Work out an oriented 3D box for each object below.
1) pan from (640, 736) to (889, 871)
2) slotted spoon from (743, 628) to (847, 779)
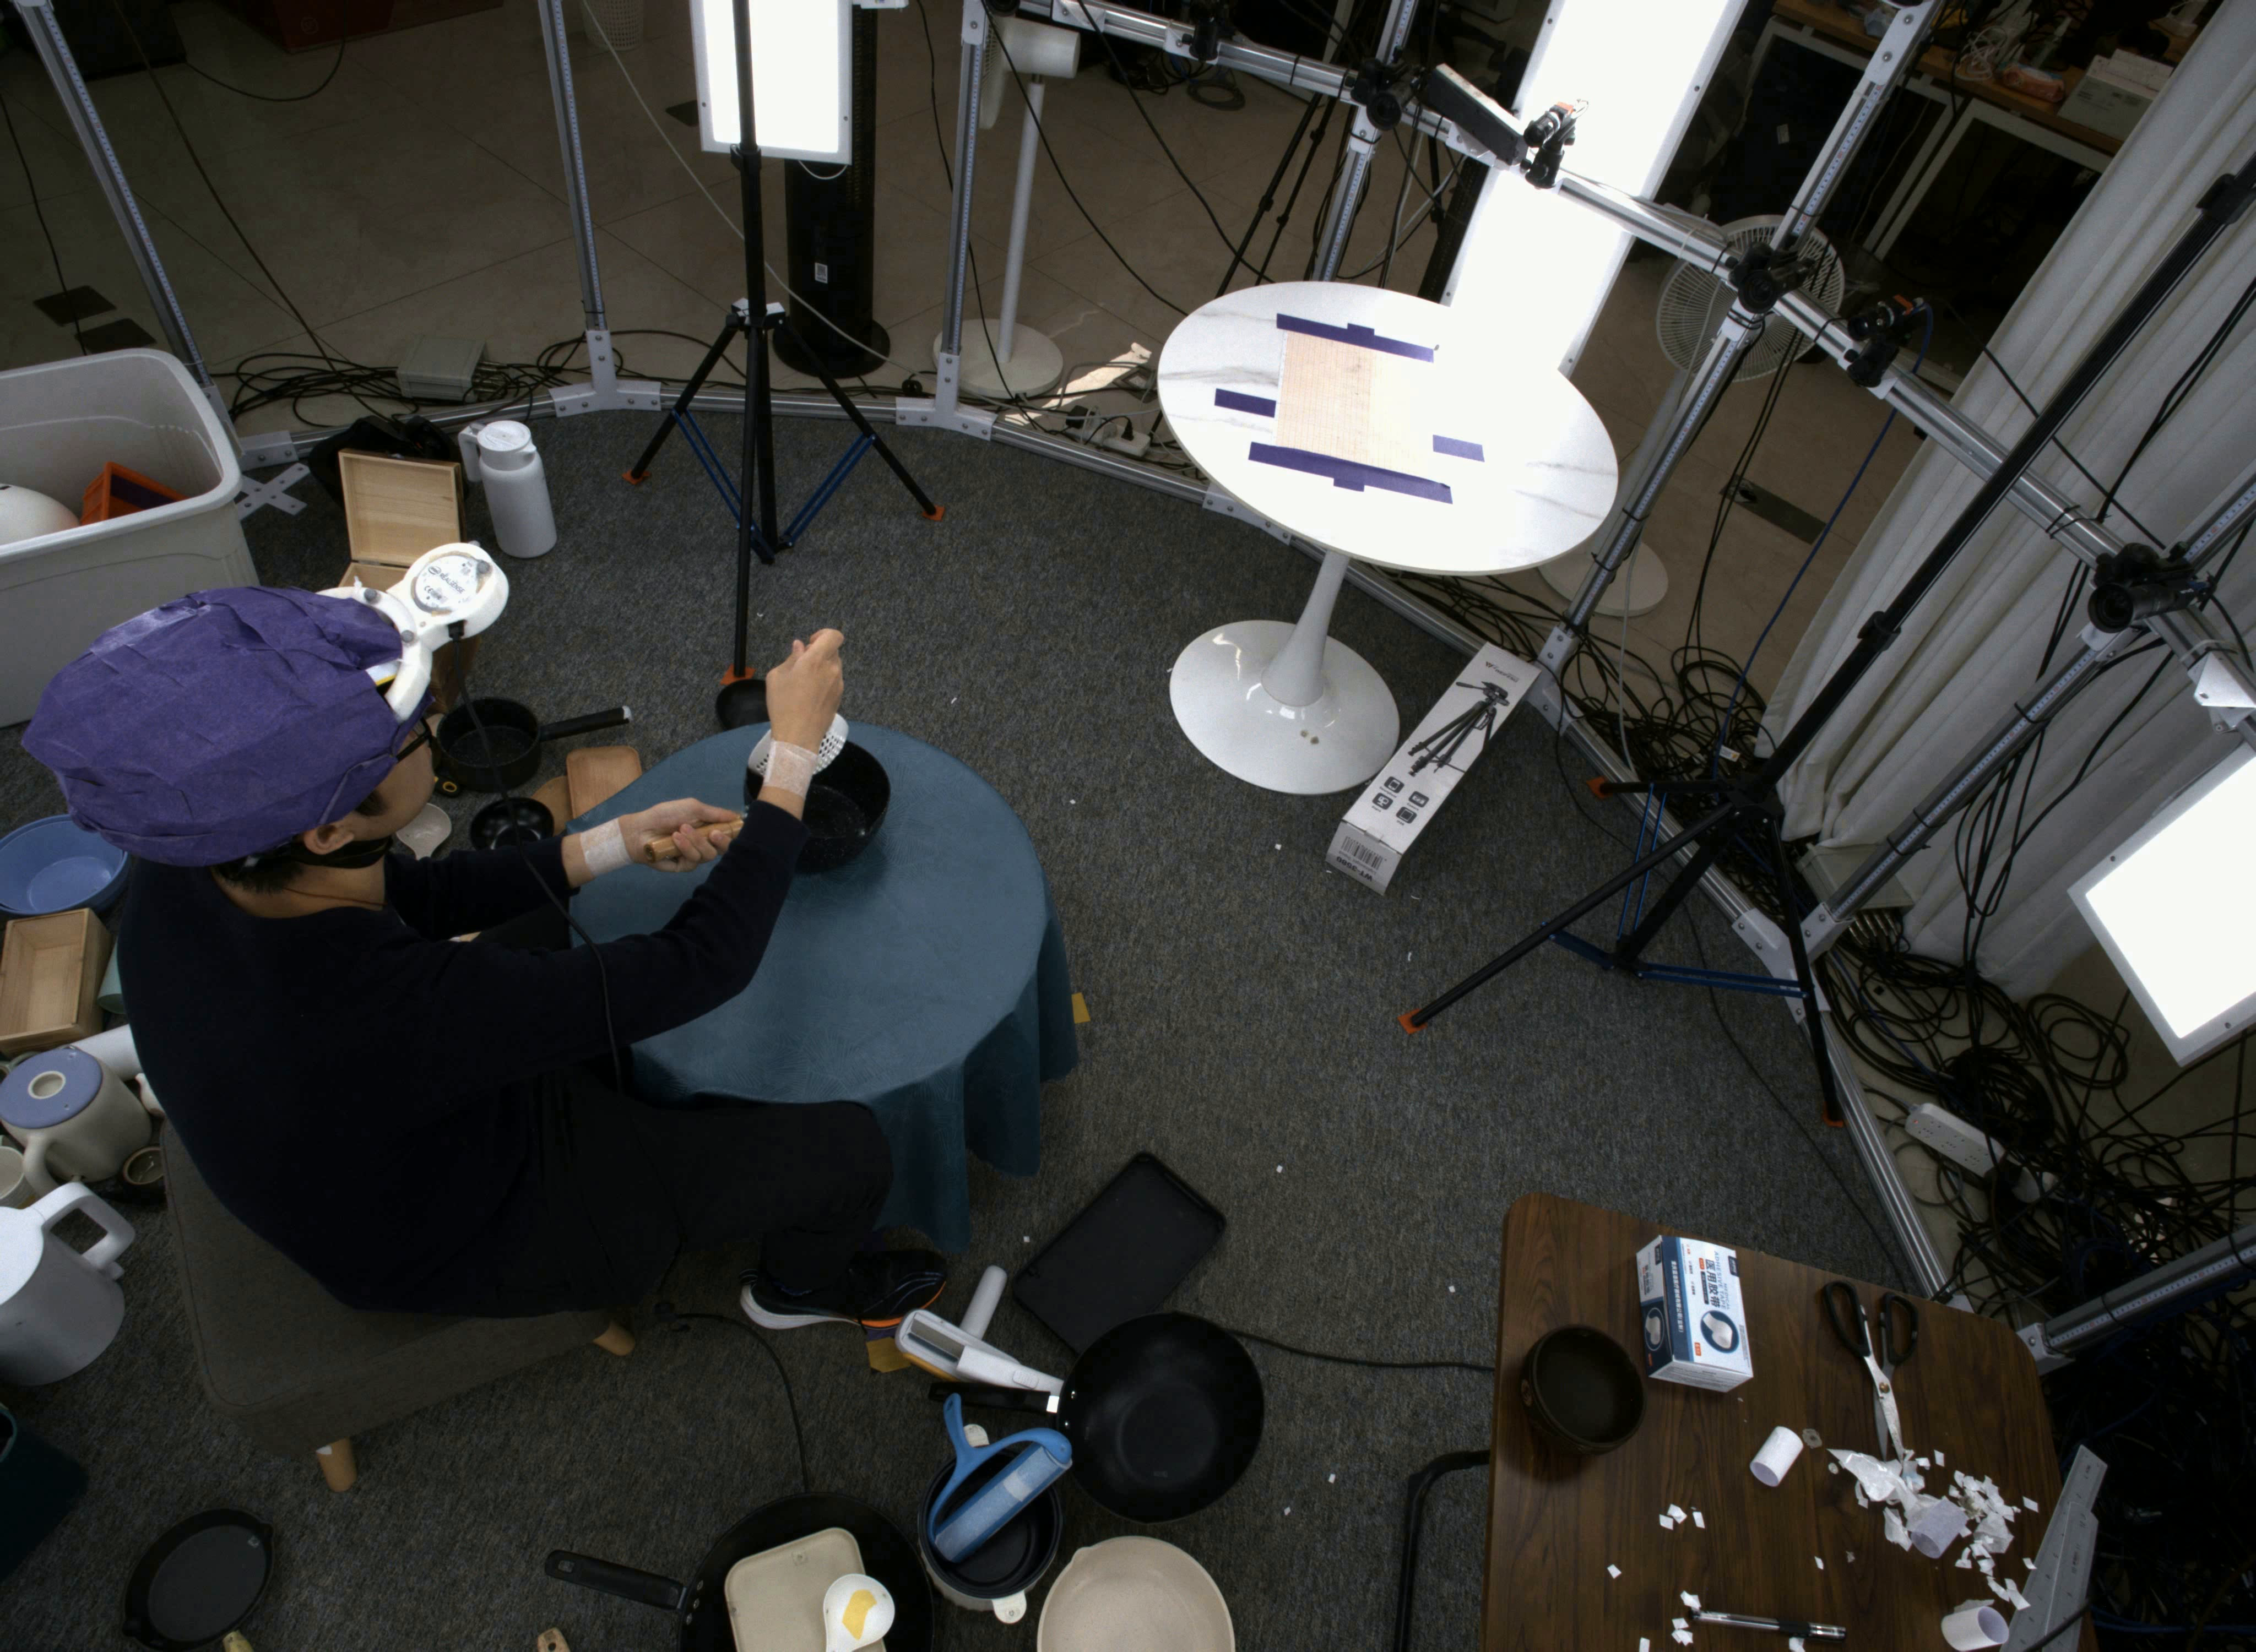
[{"bbox_3d":[-0.455,-0.005,1.612,0.203,0.110,0.344,43,45,16],"label":"pan"},{"bbox_3d":[-0.386,-0.143,1.540,0.137,0.351,0.049,-20,68,-25],"label":"slotted spoon"}]
